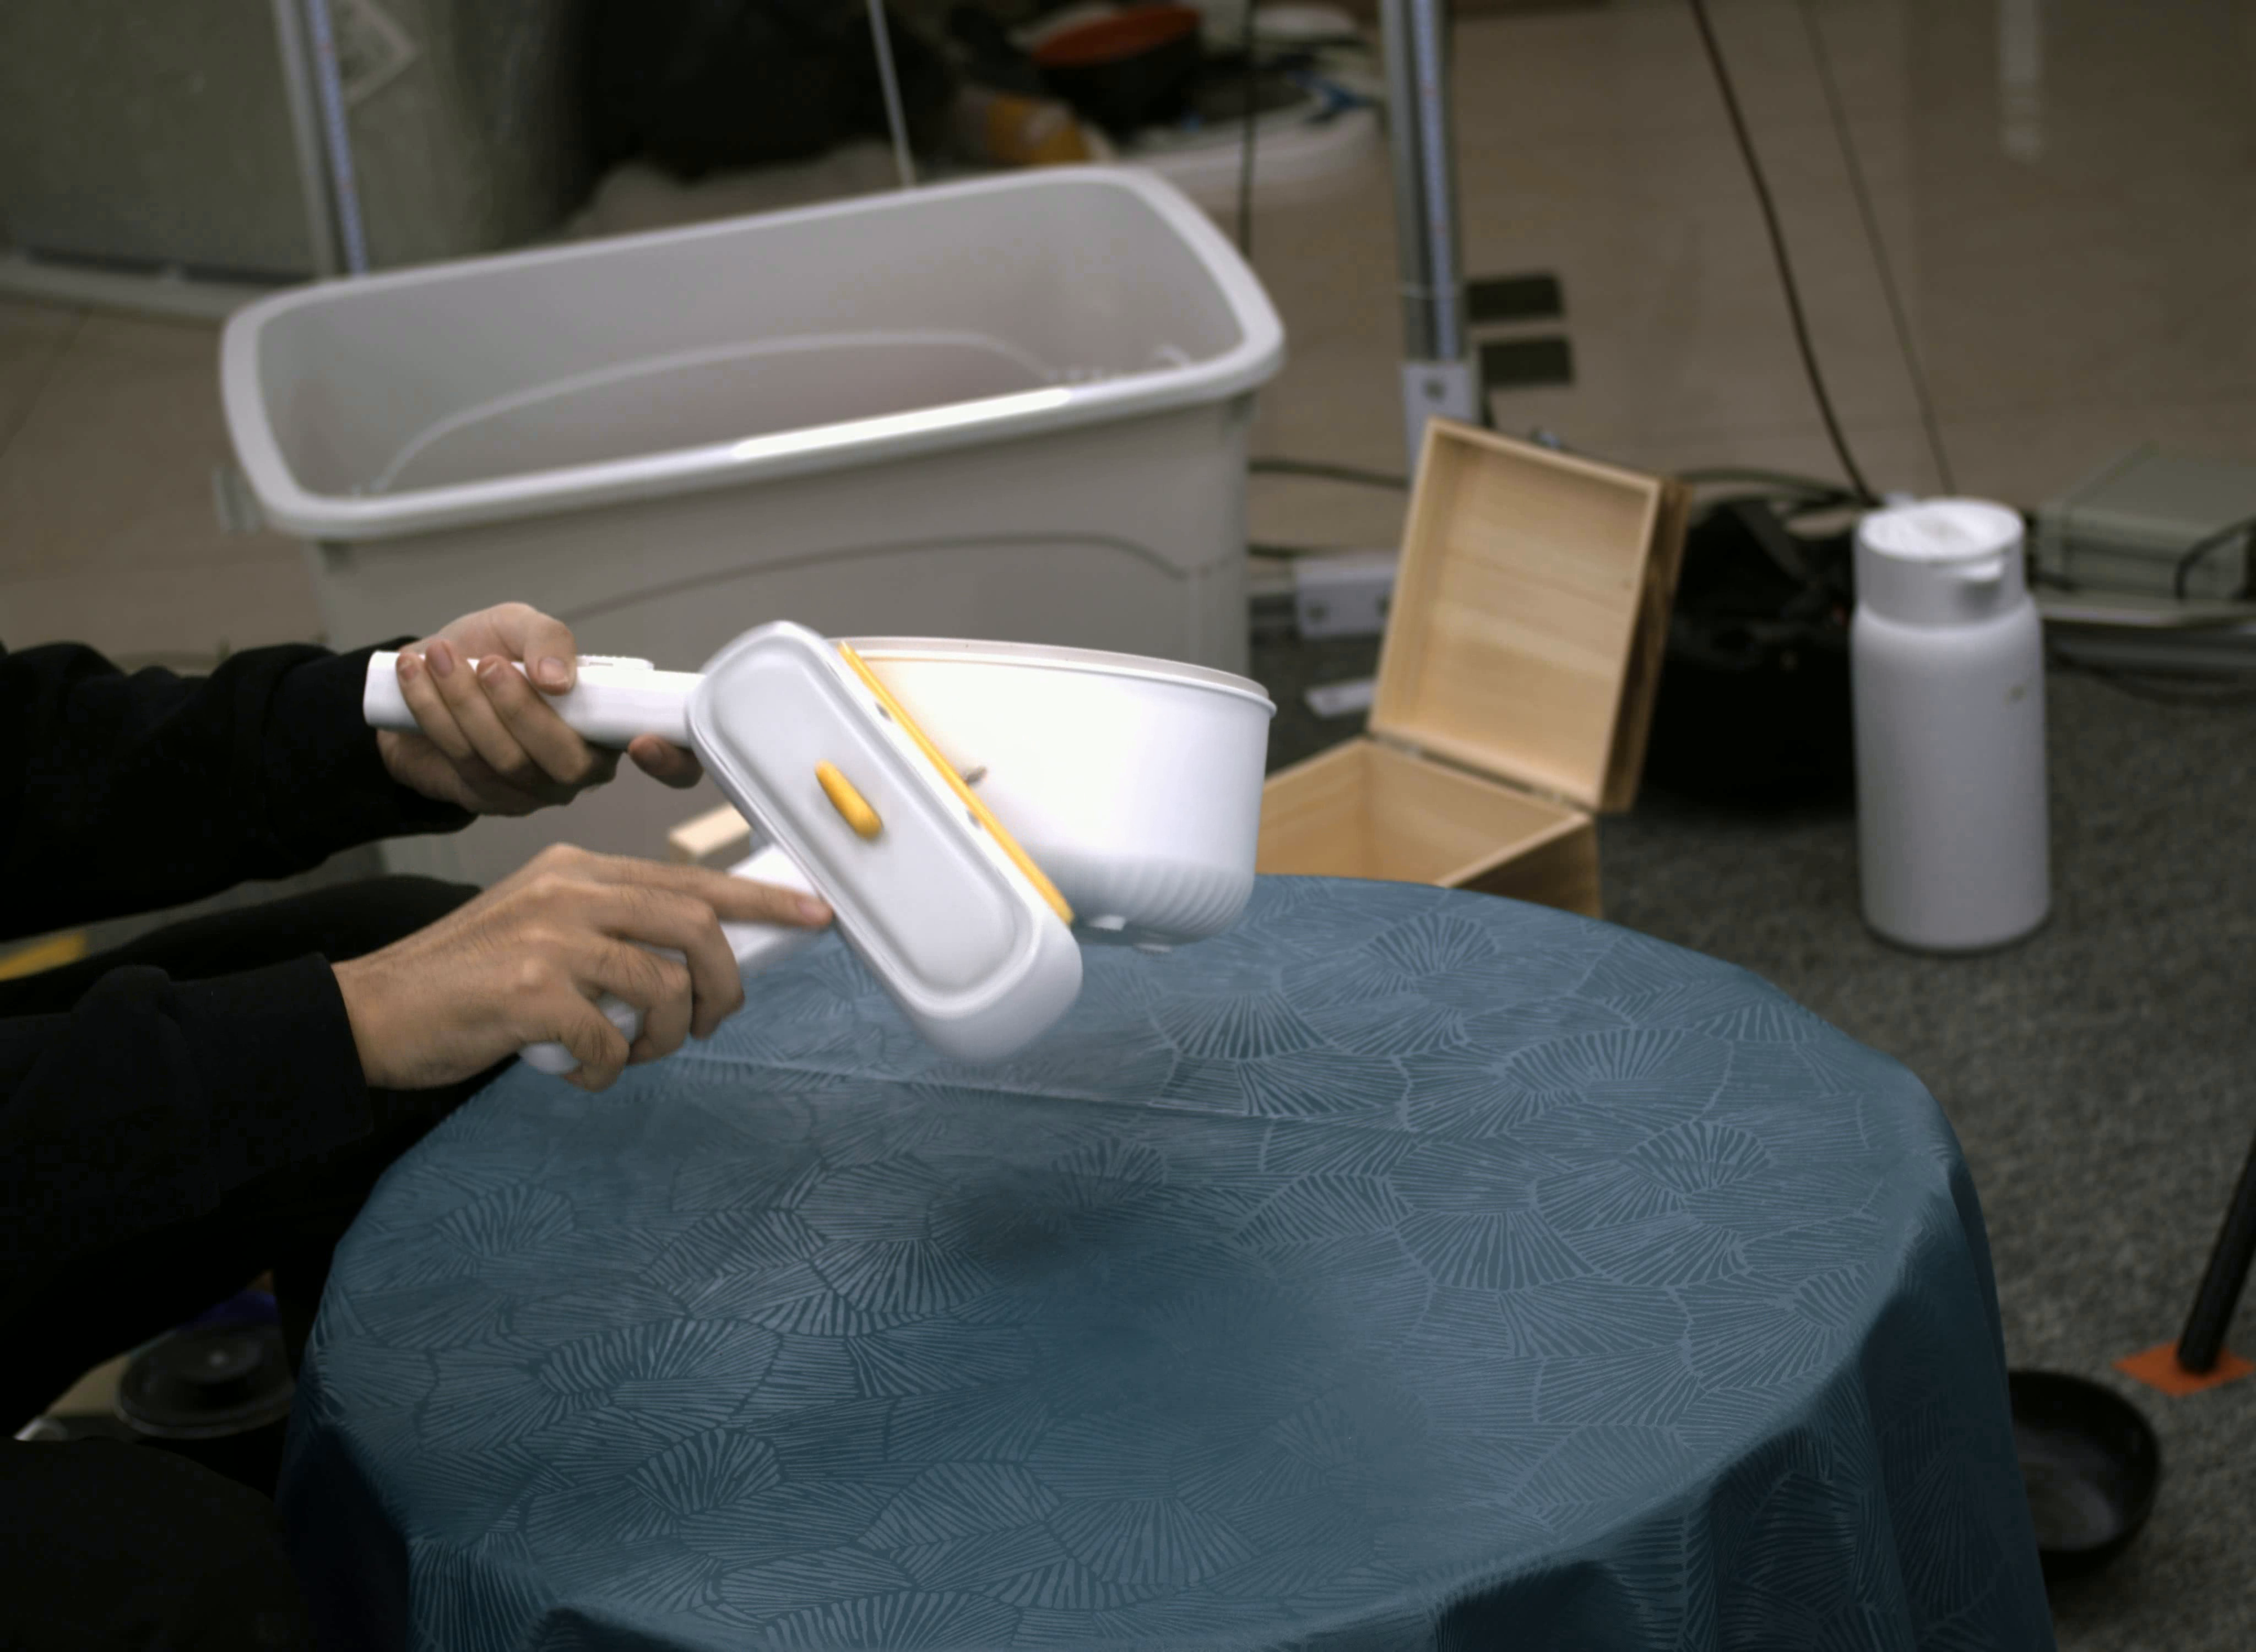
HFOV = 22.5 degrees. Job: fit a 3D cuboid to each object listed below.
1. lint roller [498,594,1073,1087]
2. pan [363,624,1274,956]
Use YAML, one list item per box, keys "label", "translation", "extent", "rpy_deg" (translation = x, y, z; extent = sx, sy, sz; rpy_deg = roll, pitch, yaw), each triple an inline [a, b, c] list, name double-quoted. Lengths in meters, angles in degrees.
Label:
- label: "lint roller"
  translation: [-0.141, 0.028, 2.018]
  extent: [0.191, 0.075, 0.191]
  rpy_deg: [-40, 71, -11]
- label: "pan"
  translation: [-0.123, -0.015, 2.171]
  extent: [0.354, 0.102, 0.202]
  rpy_deg: [4, -6, 11]
